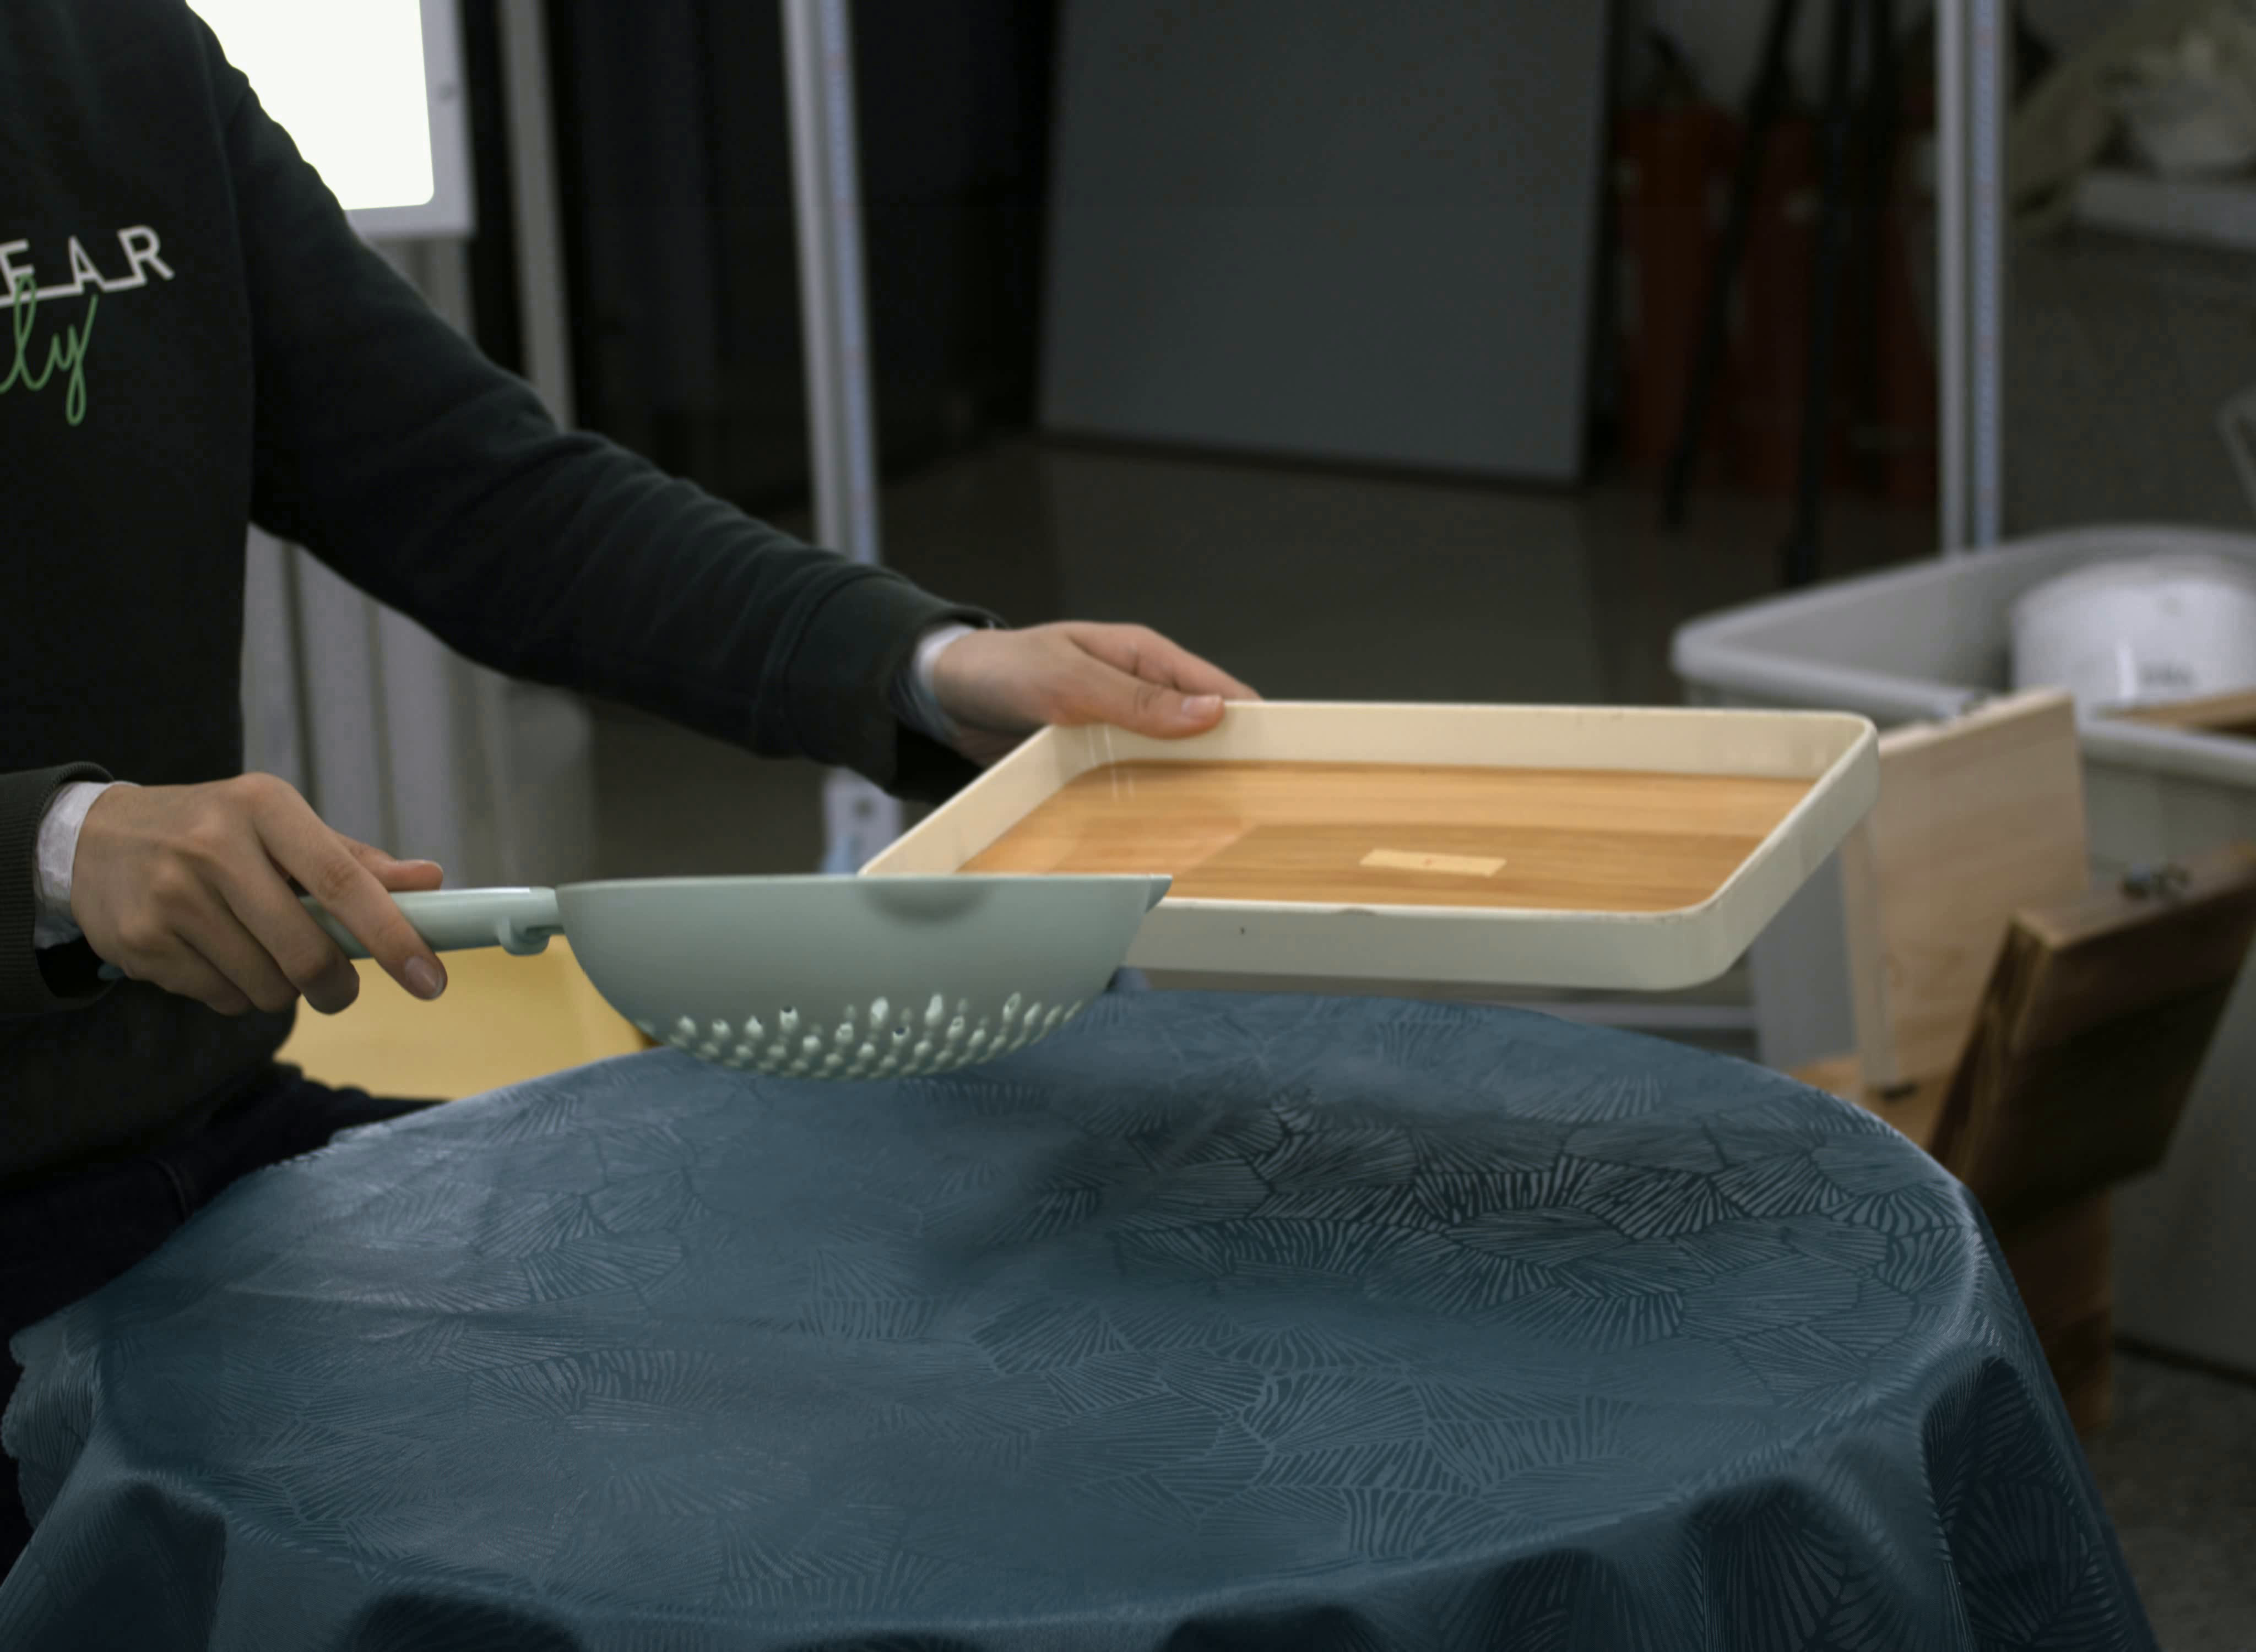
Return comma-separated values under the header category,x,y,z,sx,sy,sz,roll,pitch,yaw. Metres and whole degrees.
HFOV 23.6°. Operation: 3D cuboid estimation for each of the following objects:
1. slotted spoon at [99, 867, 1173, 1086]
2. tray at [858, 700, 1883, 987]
category,x,y,z,sx,sy,sz,roll,pitch,yaw
slotted spoon,-0.159,0.031,1.574,0.360,0.076,0.166,7,3,32
tray,0.080,0.003,1.750,0.301,0.027,0.189,2,21,27
